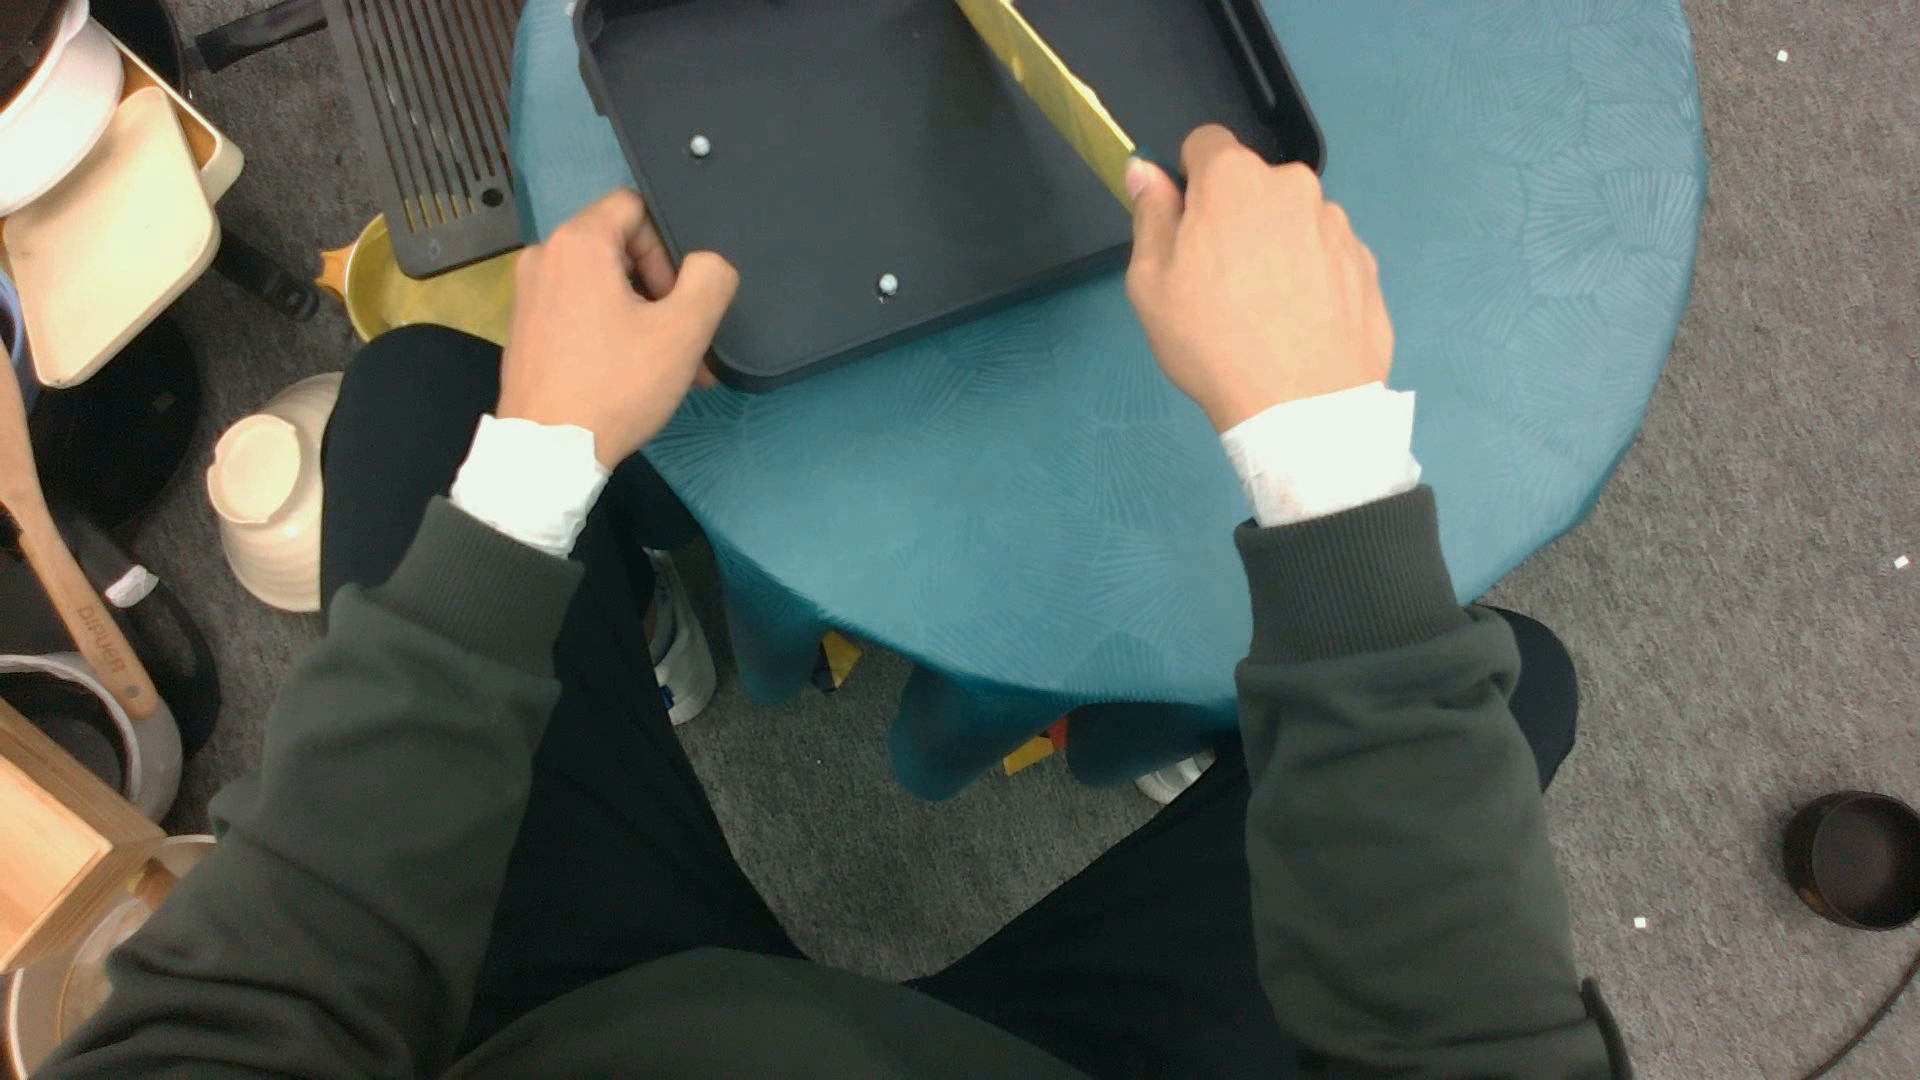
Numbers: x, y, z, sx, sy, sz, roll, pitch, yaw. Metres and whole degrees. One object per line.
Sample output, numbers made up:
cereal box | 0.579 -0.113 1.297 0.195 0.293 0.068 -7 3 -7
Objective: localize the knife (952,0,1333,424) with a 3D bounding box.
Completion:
knife | 0.062 -0.156 0.585 0.027 0.081 0.290 -36 68 4

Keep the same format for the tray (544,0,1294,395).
tray | -0.009 -0.199 0.633 0.319 0.037 0.184 -24 87 -21
